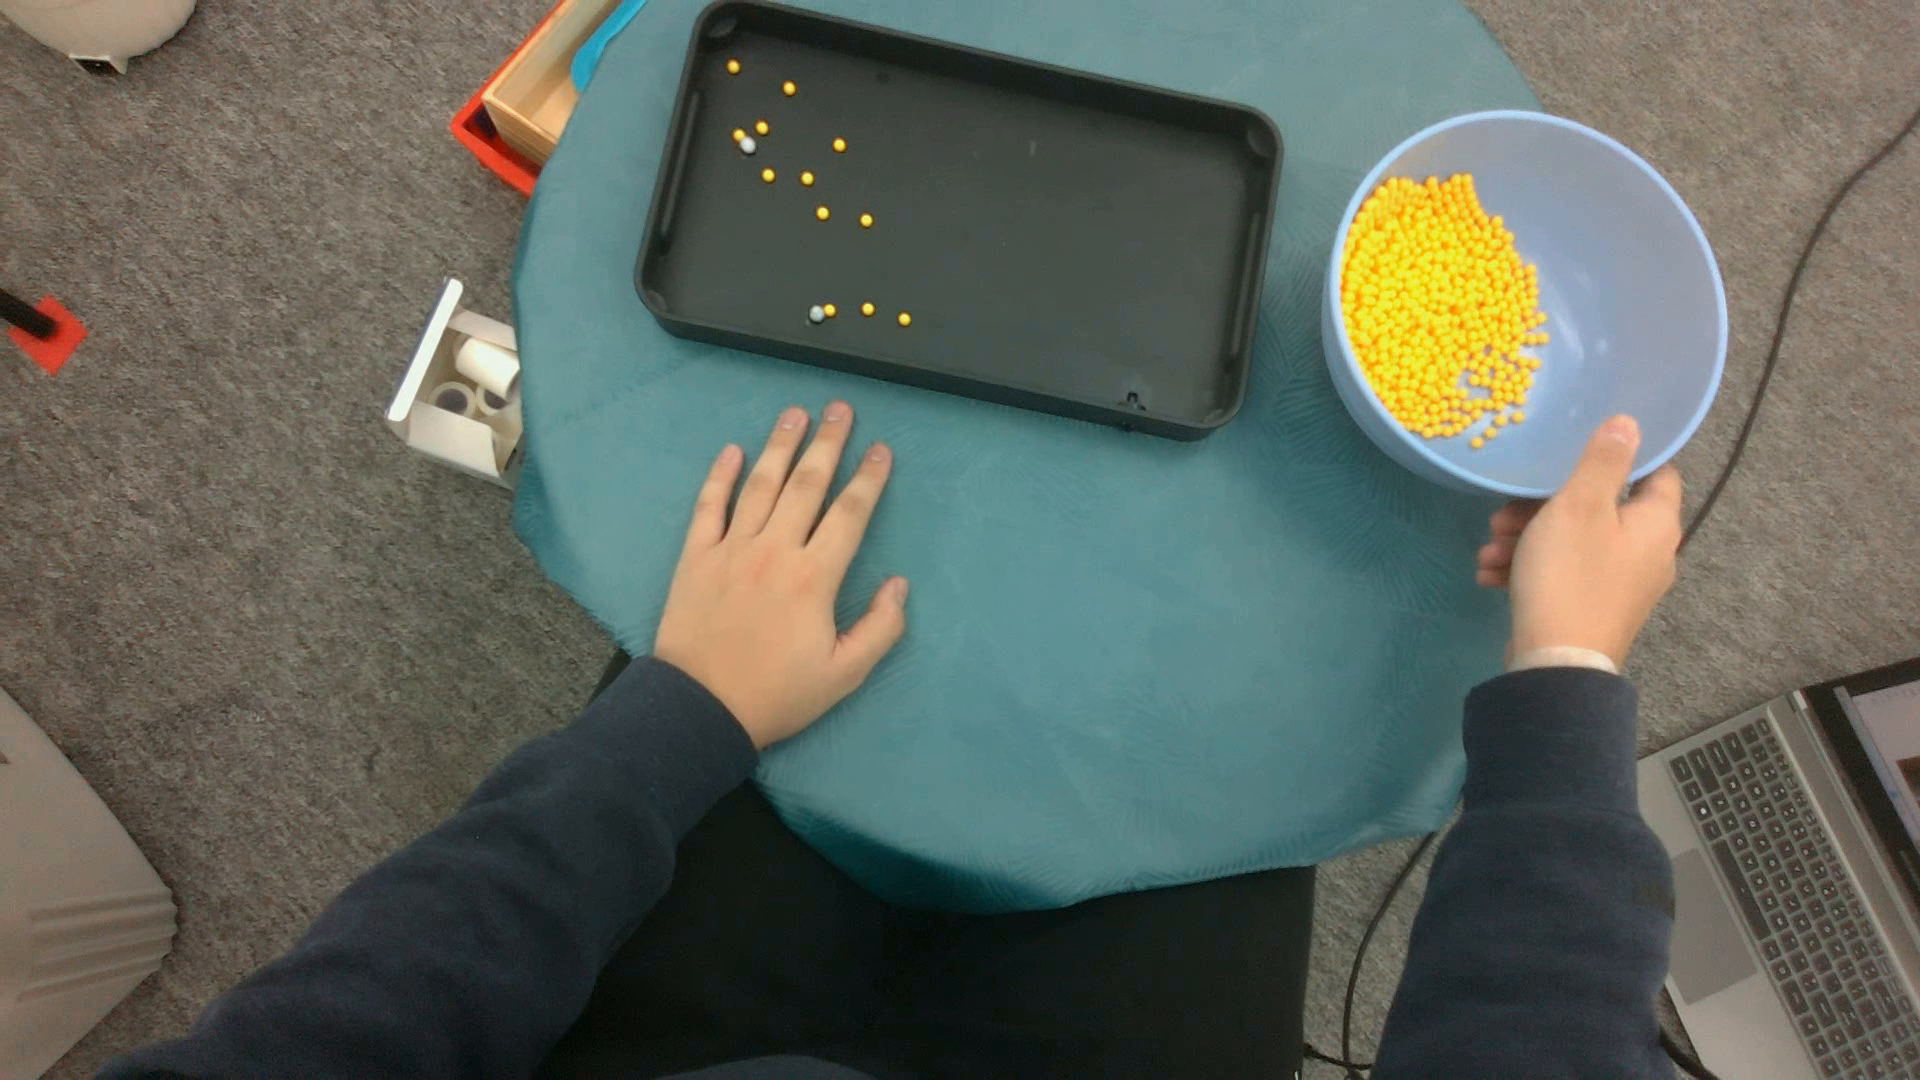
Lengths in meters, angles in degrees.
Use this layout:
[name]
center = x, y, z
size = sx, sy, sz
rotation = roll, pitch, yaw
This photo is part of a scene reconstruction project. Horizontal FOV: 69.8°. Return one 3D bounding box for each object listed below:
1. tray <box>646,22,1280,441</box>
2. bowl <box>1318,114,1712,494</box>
[tray]
center = 0.005, -0.165, 0.743
size = 0.318, 0.037, 0.184
rotation = 10, 78, -1
[bowl]
center = 0.272, -0.110, 0.720
size = 0.196, 0.095, 0.197
rotation = 1, 78, -4
